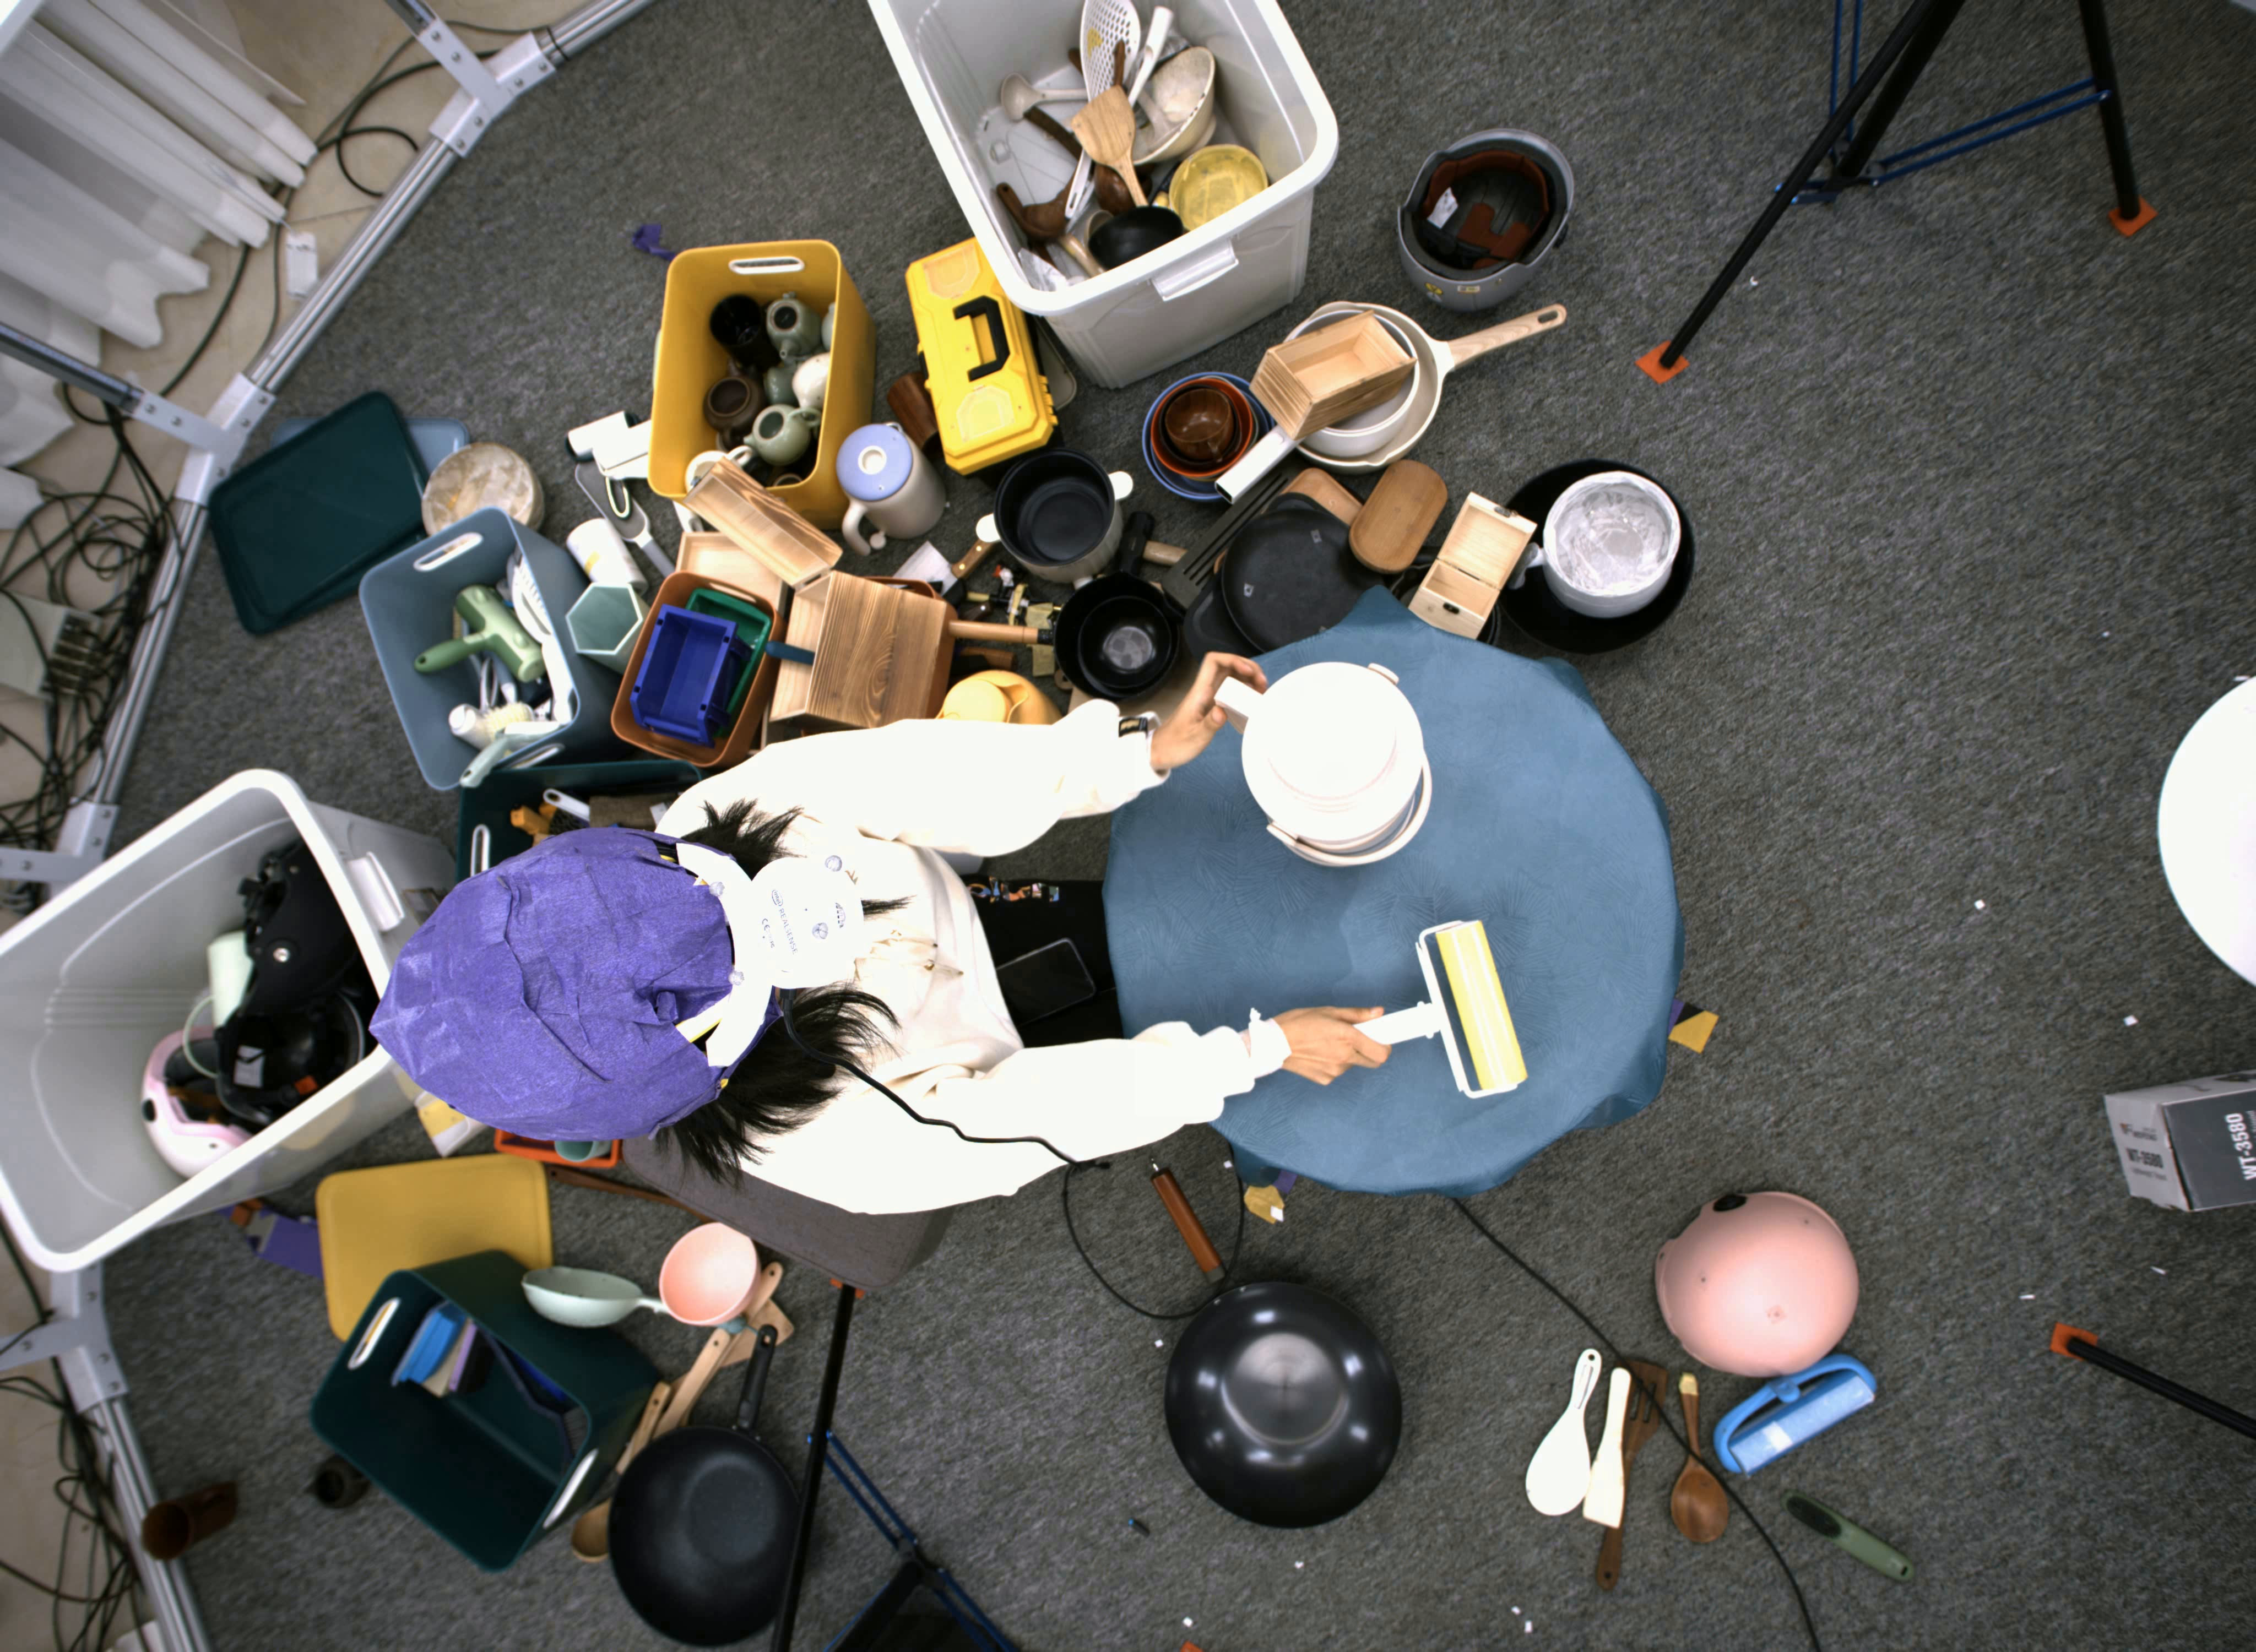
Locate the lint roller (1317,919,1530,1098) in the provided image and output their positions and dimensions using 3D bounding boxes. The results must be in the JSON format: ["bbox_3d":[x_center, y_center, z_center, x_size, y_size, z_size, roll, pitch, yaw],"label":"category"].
[{"bbox_3d":[0.281,0.197,1.366,0.192,0.051,0.174,-17,89,1],"label":"lint roller"}]

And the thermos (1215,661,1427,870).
[{"bbox_3d":[0.181,-0.064,1.283,0.206,0.407,0.175,32,91,12],"label":"thermos"}]
